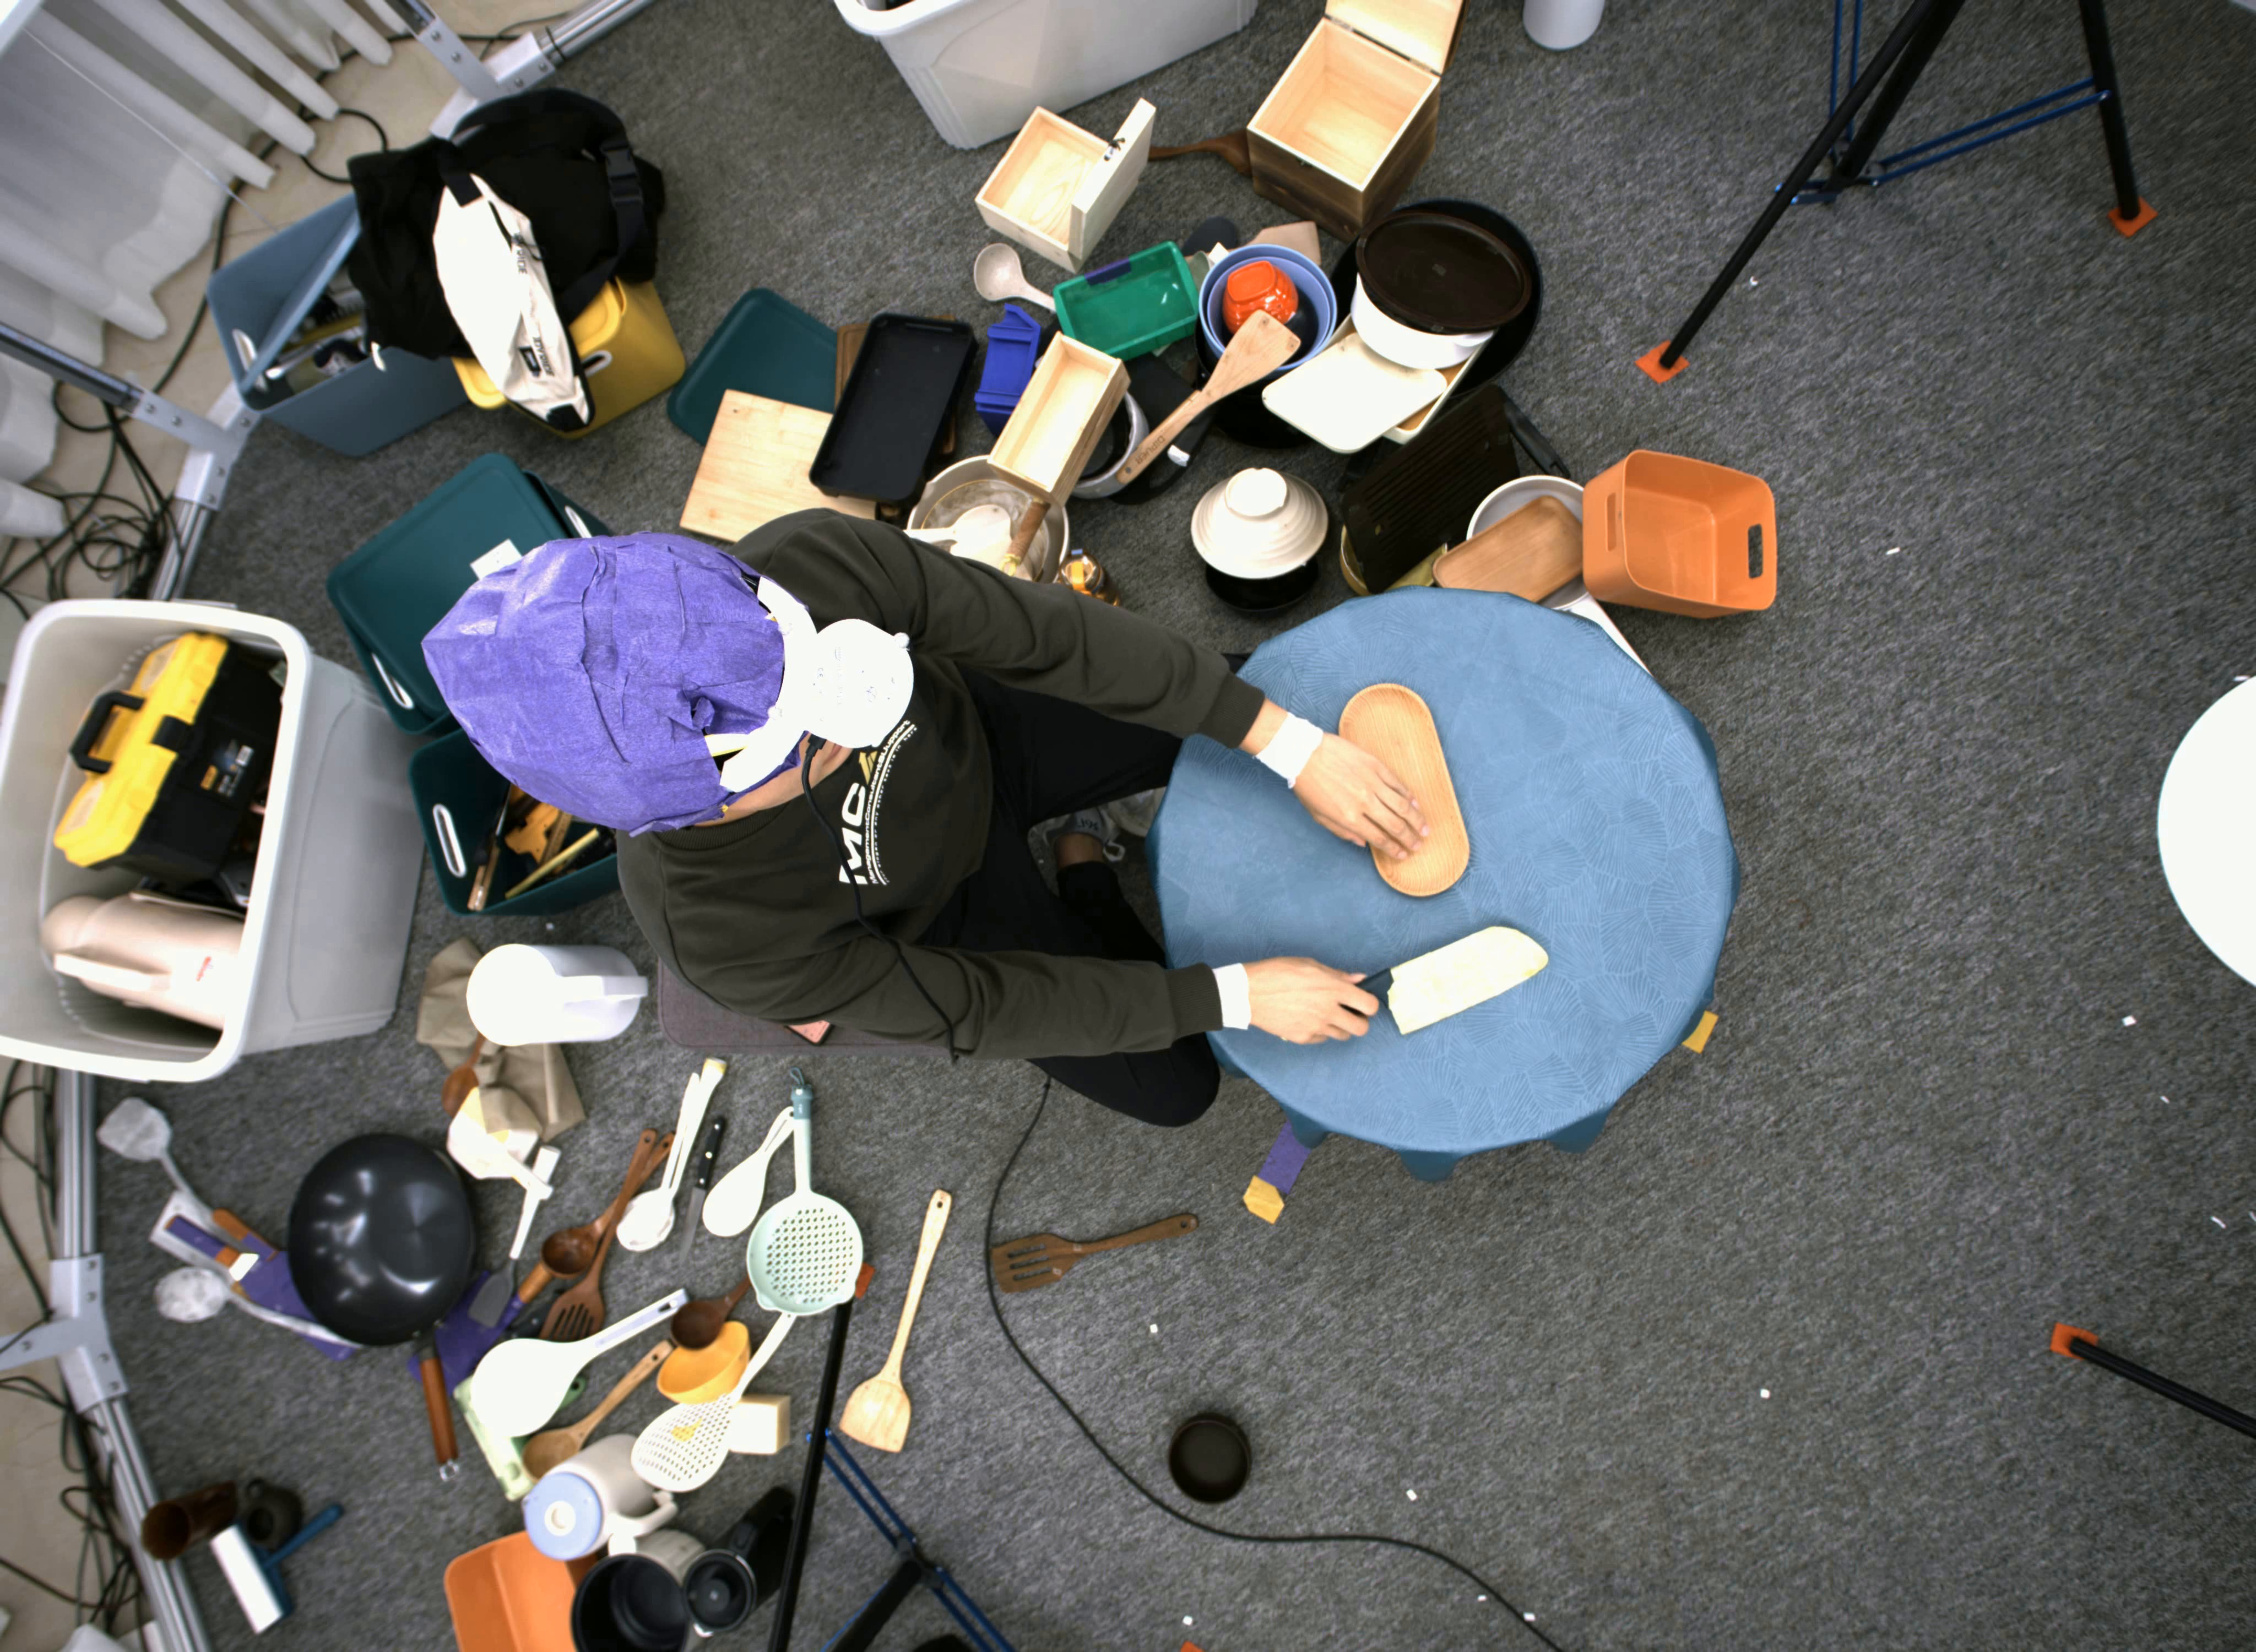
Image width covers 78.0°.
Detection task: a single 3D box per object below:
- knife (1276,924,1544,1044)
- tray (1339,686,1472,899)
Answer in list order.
[{"bbox_3d":[0.294,0.173,1.431,0.291,0.027,0.081,-21,98,6],"label":"knife"},{"bbox_3d":[0.292,-0.037,1.454,0.102,0.020,0.230,-16,85,11],"label":"tray"}]
